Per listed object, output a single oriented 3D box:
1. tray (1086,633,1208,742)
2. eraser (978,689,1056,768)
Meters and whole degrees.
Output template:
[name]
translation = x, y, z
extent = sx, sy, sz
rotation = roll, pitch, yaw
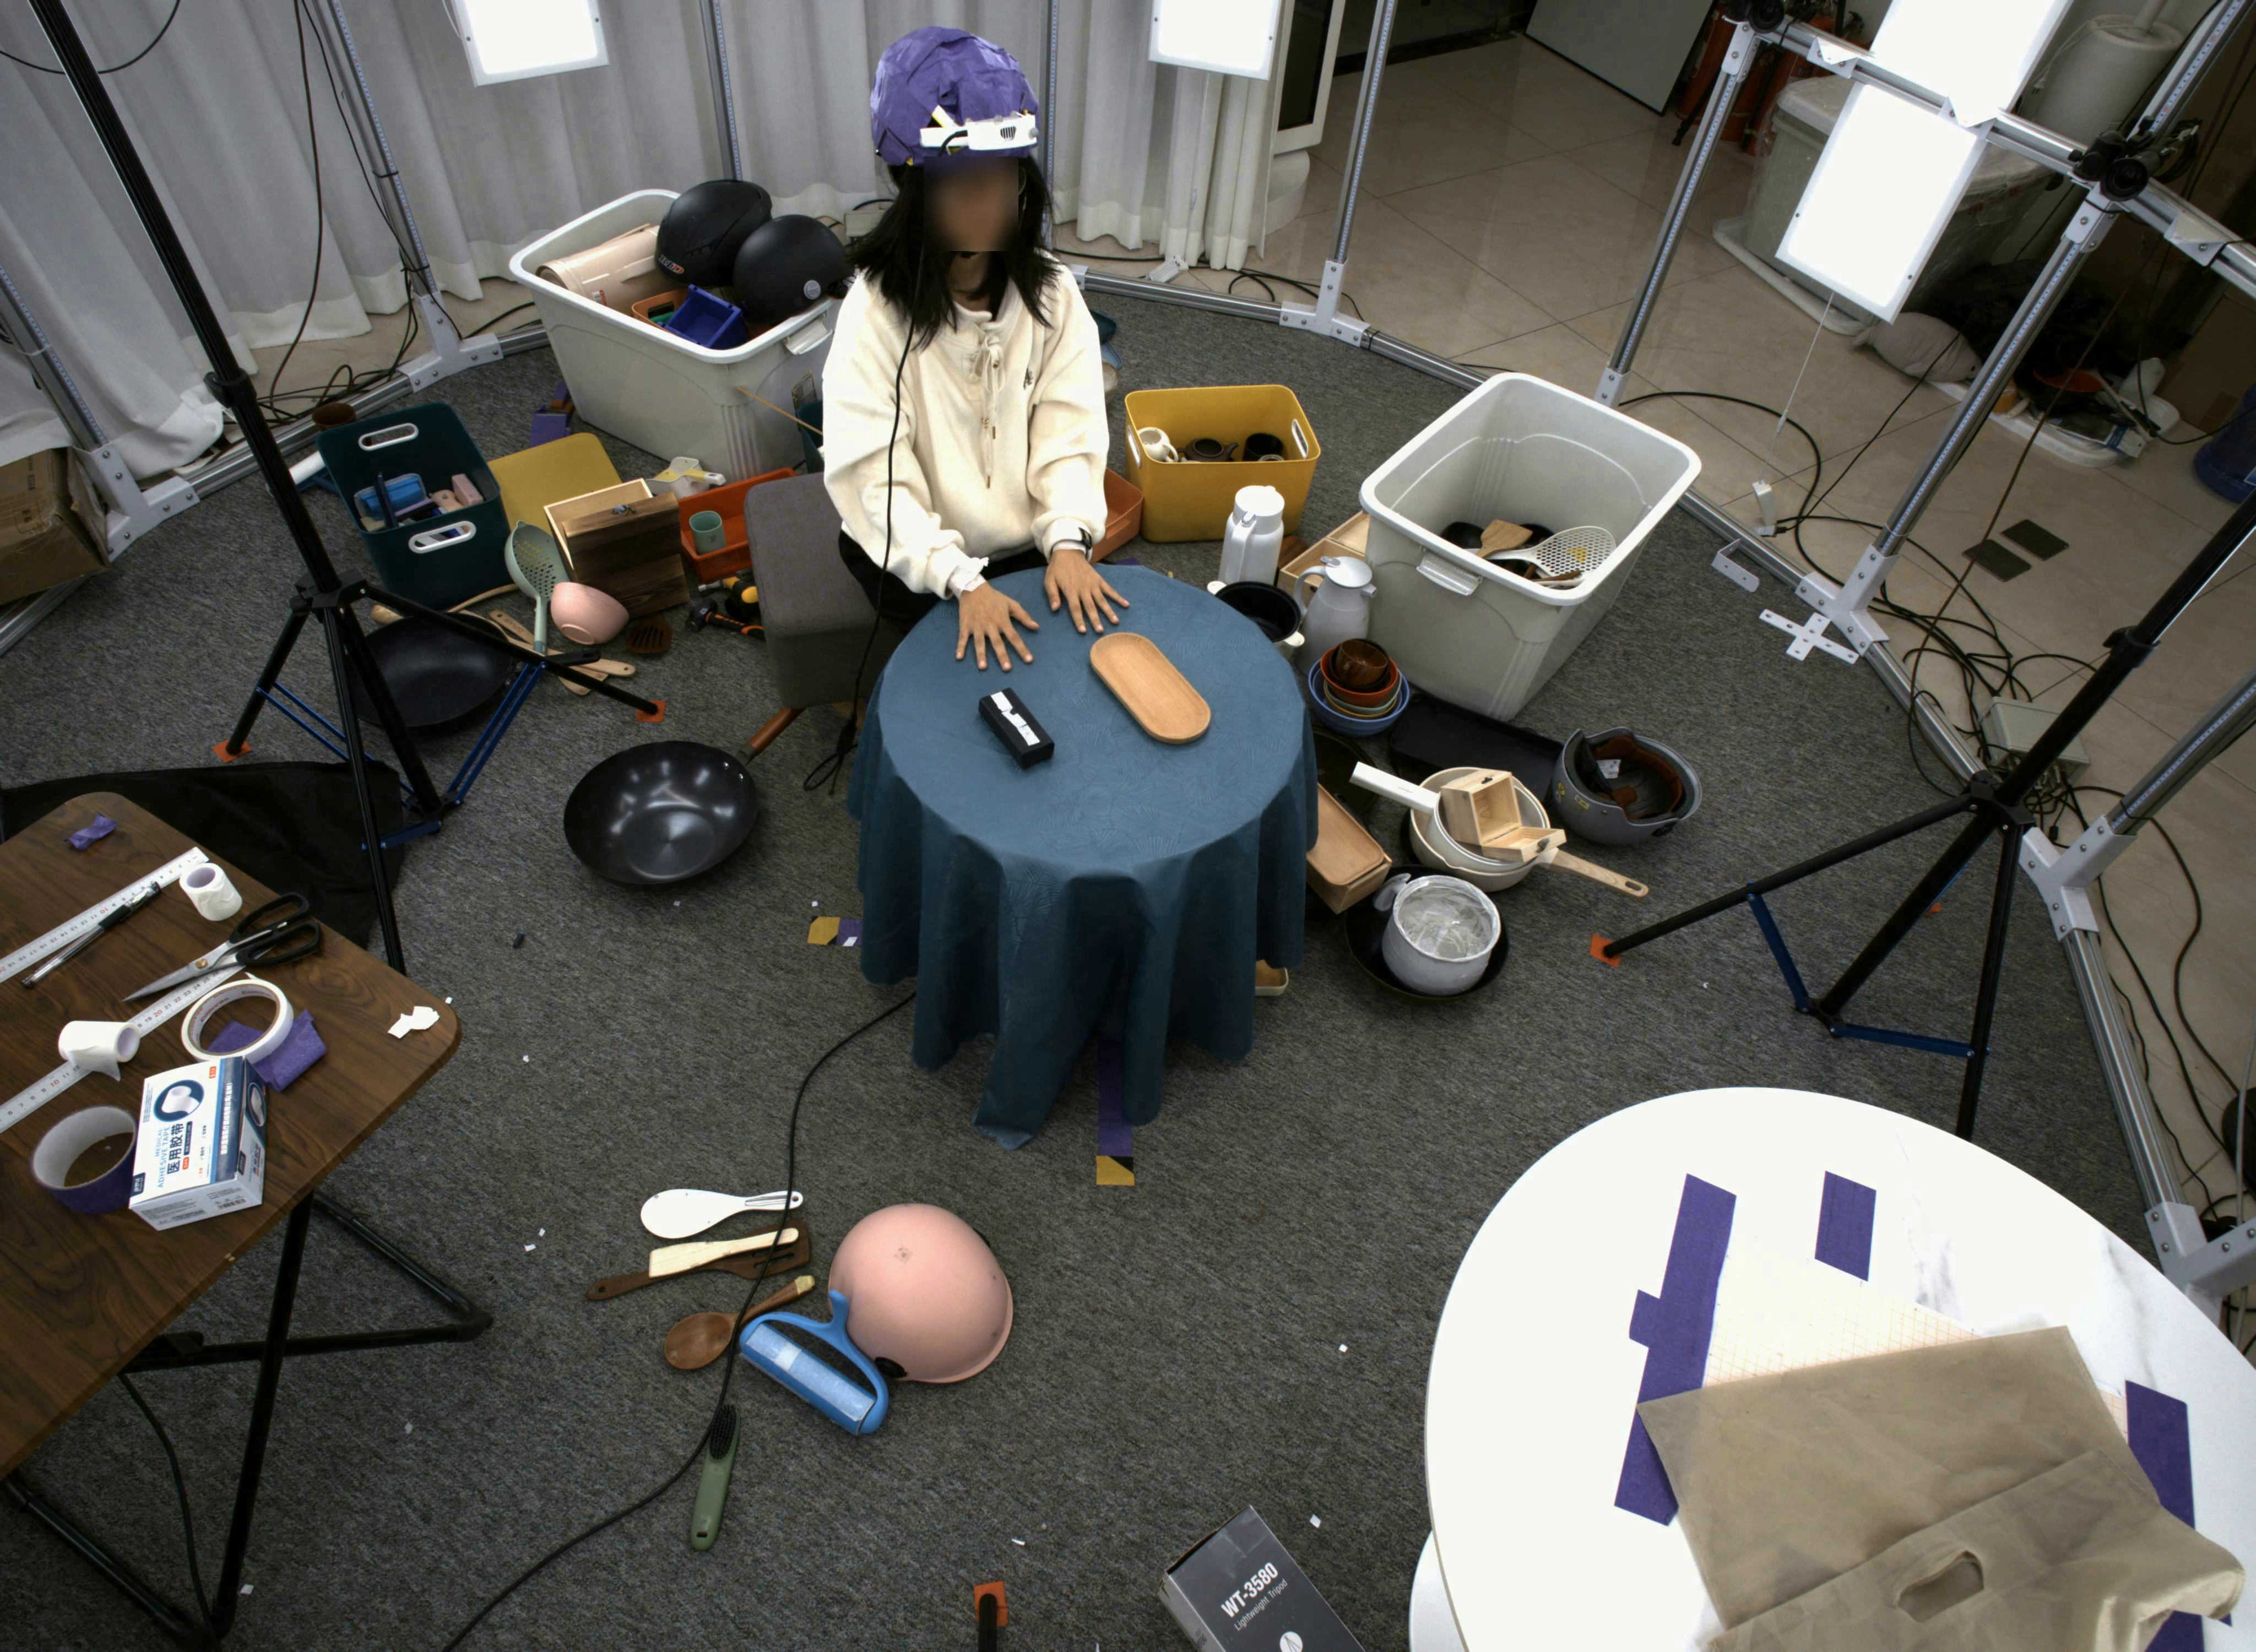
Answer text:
[tray]
translation = 0.026, -0.200, 1.835
extent = 0.102, 0.020, 0.236
rotation = -24, 53, -23
[eraser]
translation = -0.153, -0.135, 1.758
extent = 0.053, 0.030, 0.128
rotation = -20, 54, -27
